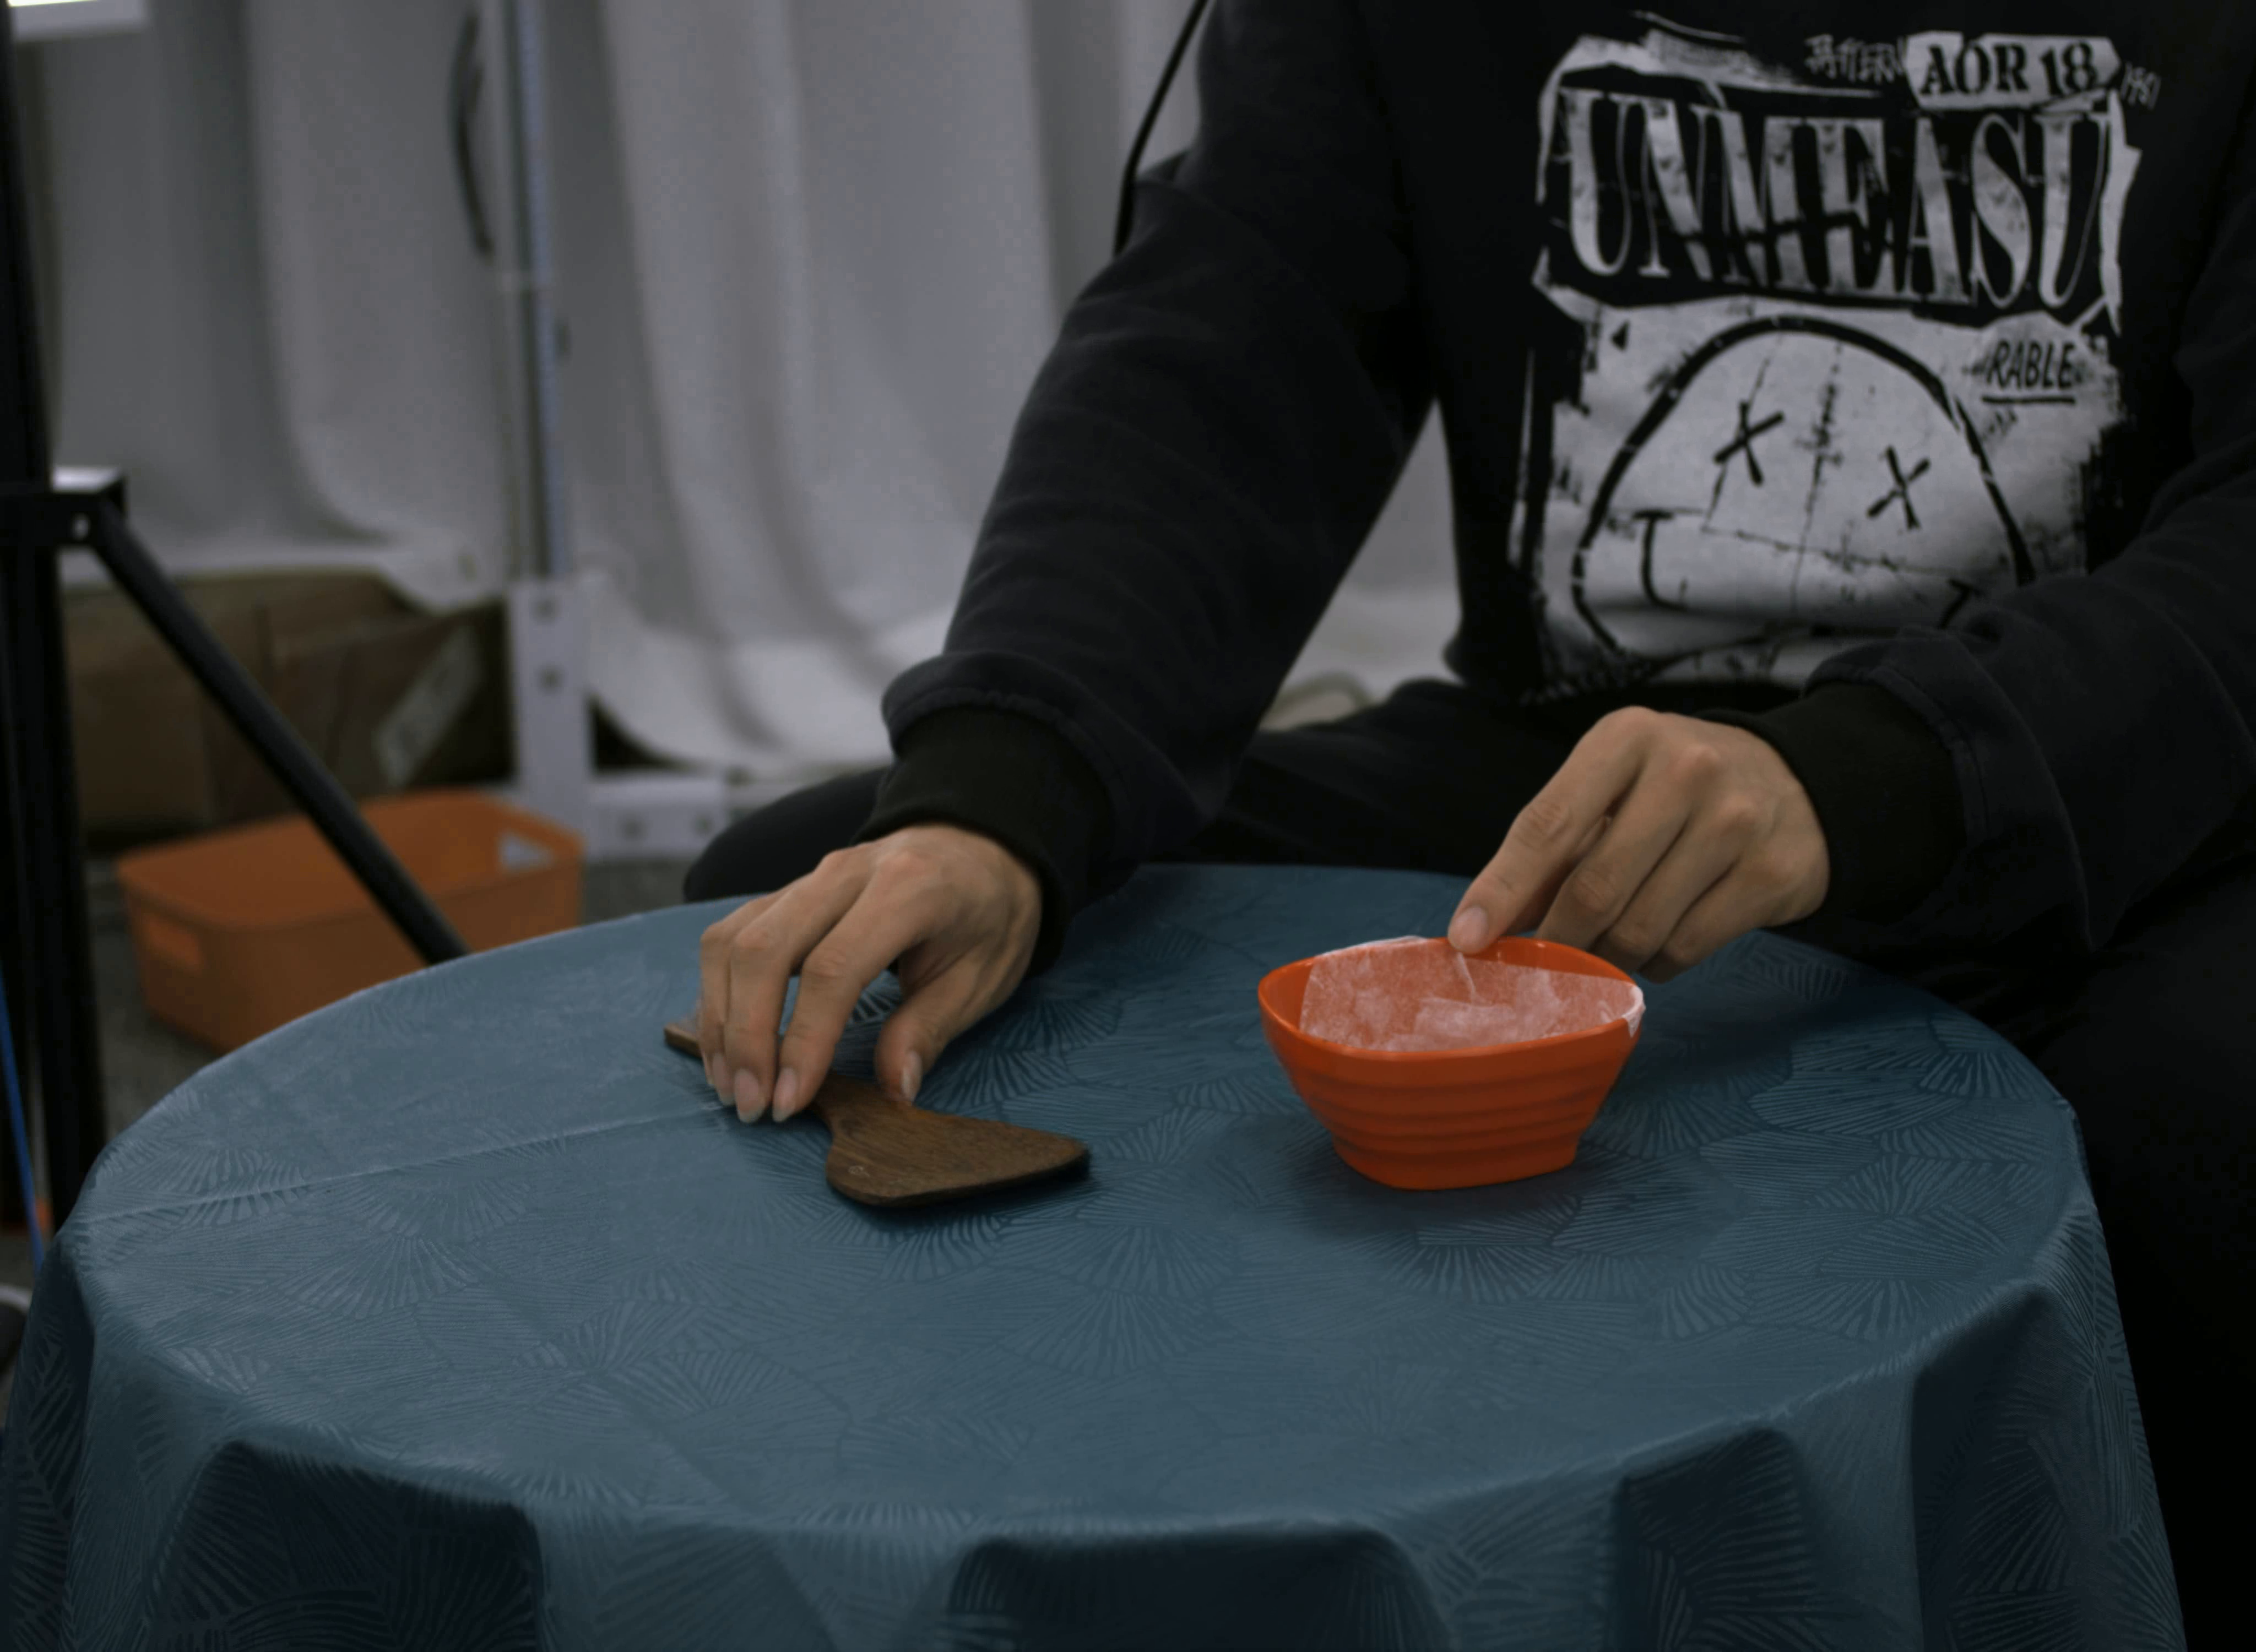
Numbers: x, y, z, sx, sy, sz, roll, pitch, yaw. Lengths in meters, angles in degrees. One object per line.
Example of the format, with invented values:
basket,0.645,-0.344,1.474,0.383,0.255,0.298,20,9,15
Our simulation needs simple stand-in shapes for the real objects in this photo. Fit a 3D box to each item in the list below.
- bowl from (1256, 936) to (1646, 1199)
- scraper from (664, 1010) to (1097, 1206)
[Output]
bowl,0.096,0.074,1.573,0.118,0.051,0.119,-4,16,0
scraper,-0.088,0.085,1.638,0.074,0.011,0.216,-10,17,-28
